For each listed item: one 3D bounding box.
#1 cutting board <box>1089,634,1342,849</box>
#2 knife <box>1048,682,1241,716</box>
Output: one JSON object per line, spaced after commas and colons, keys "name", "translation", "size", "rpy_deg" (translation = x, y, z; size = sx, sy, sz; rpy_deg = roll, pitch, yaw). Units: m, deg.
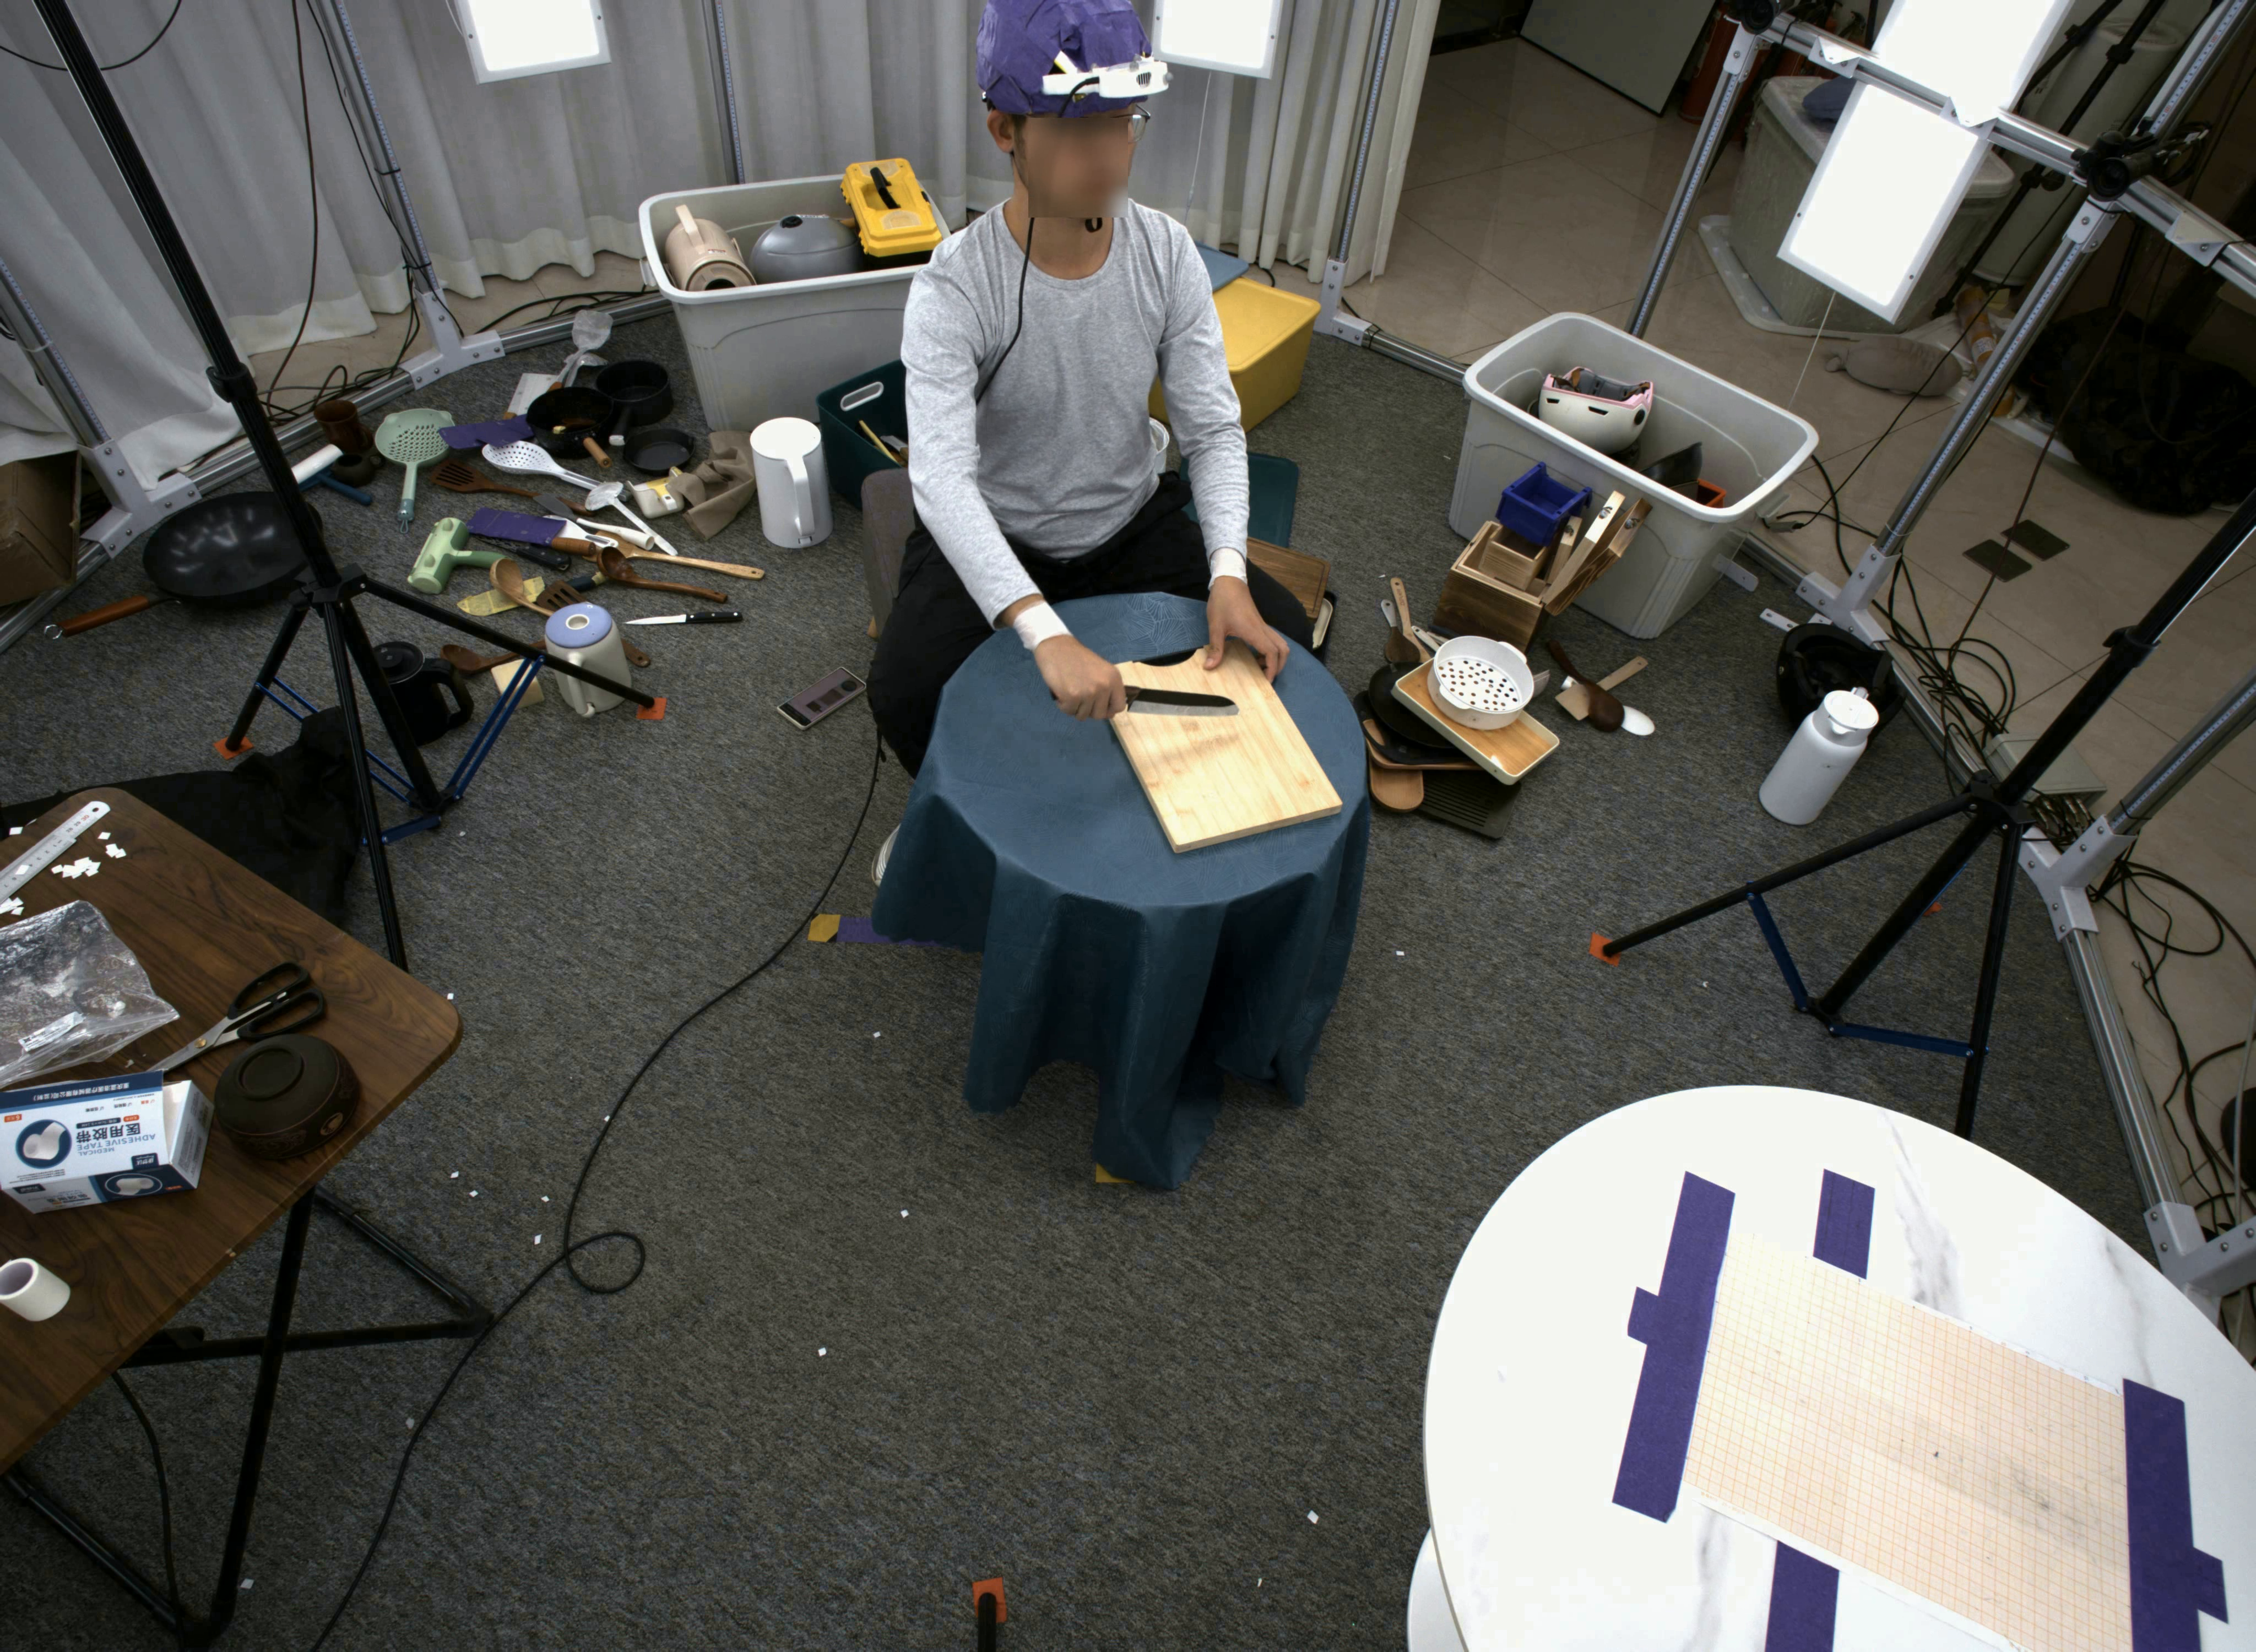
{"name": "cutting board", "translation": [0.113, -0.125, 1.773], "size": [0.251, 0.023, 0.357], "rpy_deg": [-13, 51, -16]}
{"name": "knife", "translation": [0.026, -0.165, 1.695], "size": [0.287, 0.049, 0.020], "rpy_deg": [3, 50, -26]}
